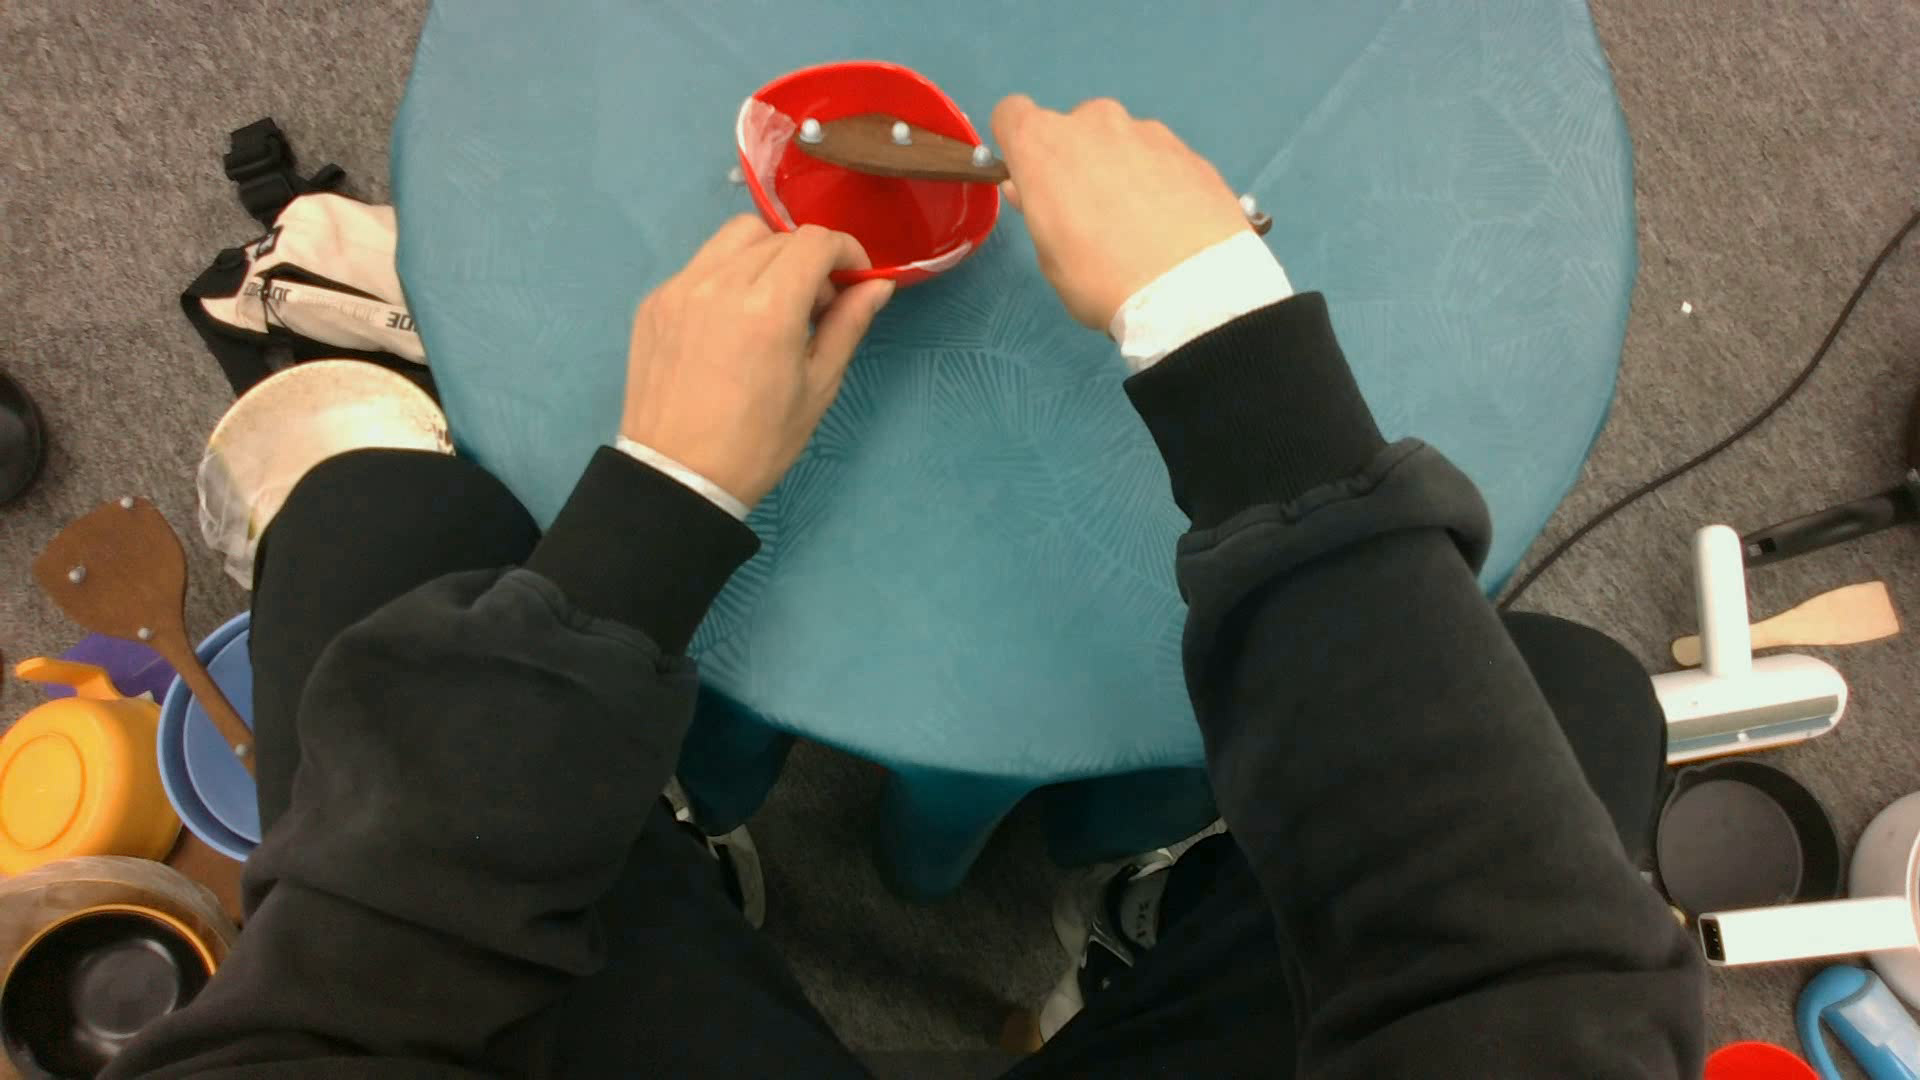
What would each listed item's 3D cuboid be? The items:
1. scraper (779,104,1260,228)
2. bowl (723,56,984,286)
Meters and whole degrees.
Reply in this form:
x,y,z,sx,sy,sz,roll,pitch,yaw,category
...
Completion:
x,y,z,sx,sy,sz,roll,pitch,yaw,category
0.024,-0.156,0.576,0.211,0.011,0.076,20,33,25,scraper
-0.052,-0.158,0.622,0.119,0.051,0.119,8,62,-15,bowl
